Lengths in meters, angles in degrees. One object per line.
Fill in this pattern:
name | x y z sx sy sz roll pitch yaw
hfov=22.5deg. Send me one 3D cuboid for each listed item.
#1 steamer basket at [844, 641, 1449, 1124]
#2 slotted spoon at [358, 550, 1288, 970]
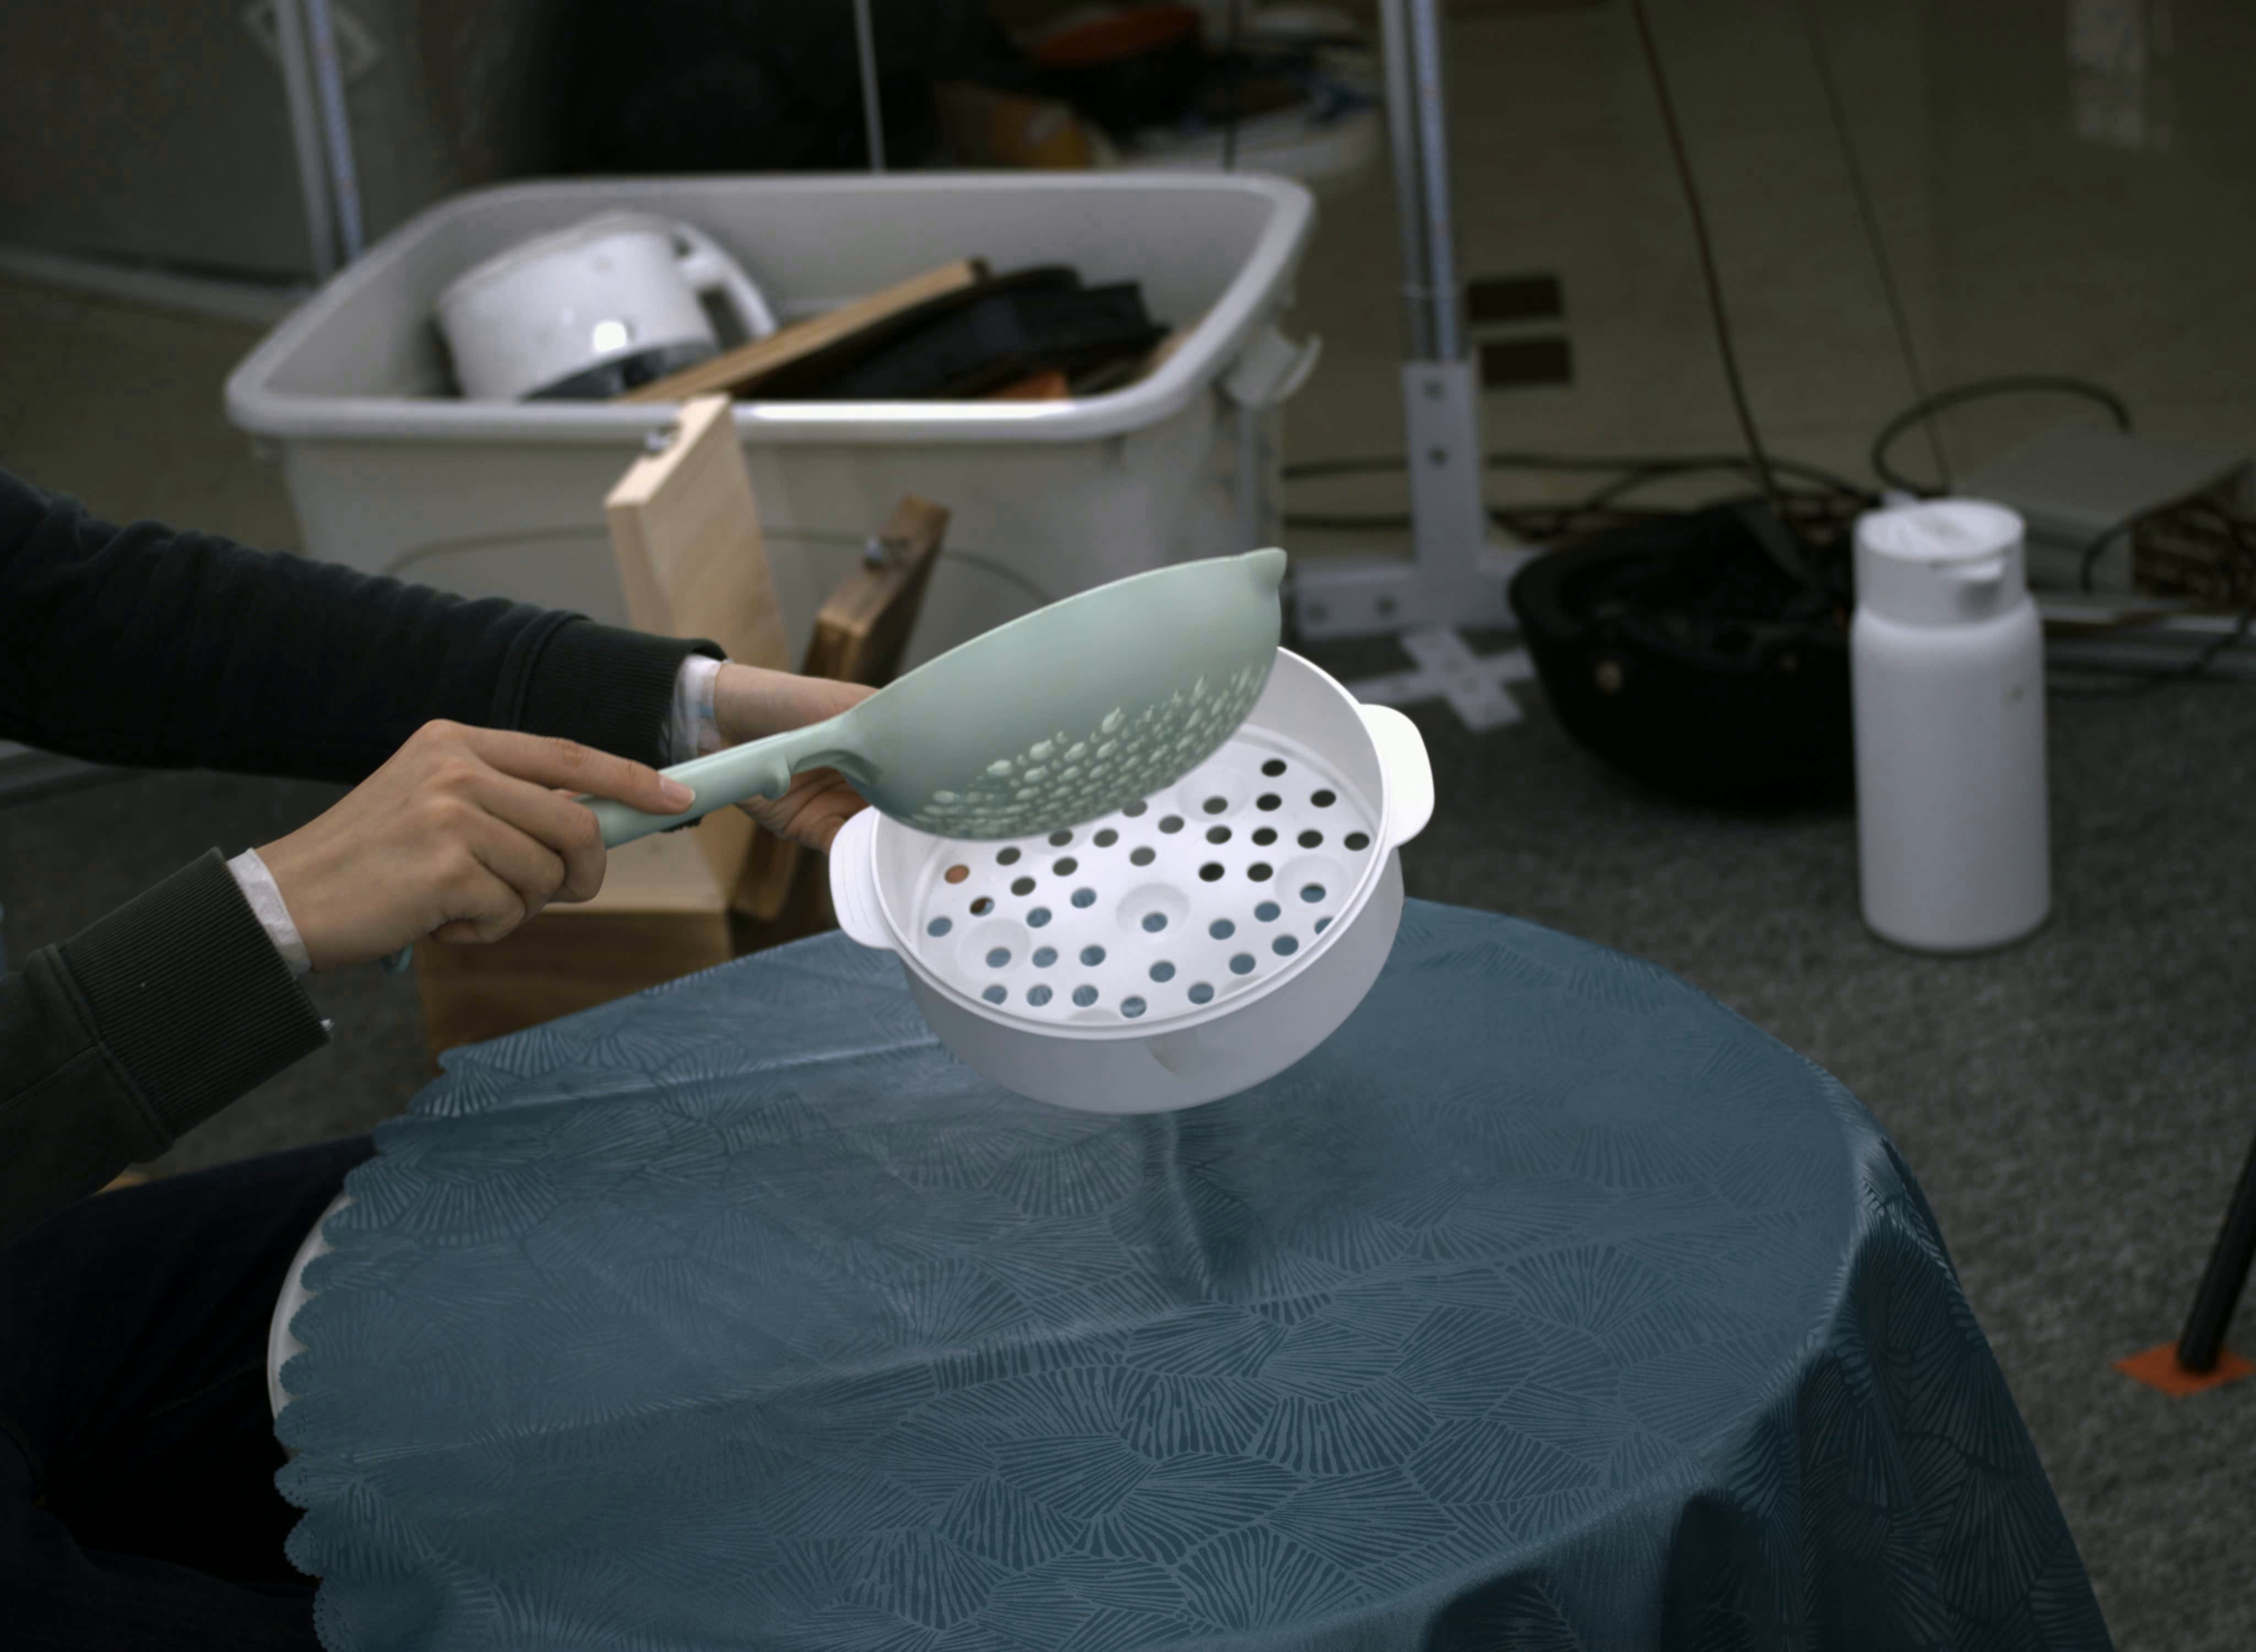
steamer basket | 0.011 0.019 2.144 0.230 0.070 0.198 -13 49 2
slotted spoon | -0.103 -0.017 1.945 0.357 0.075 0.171 -10 -16 -25
